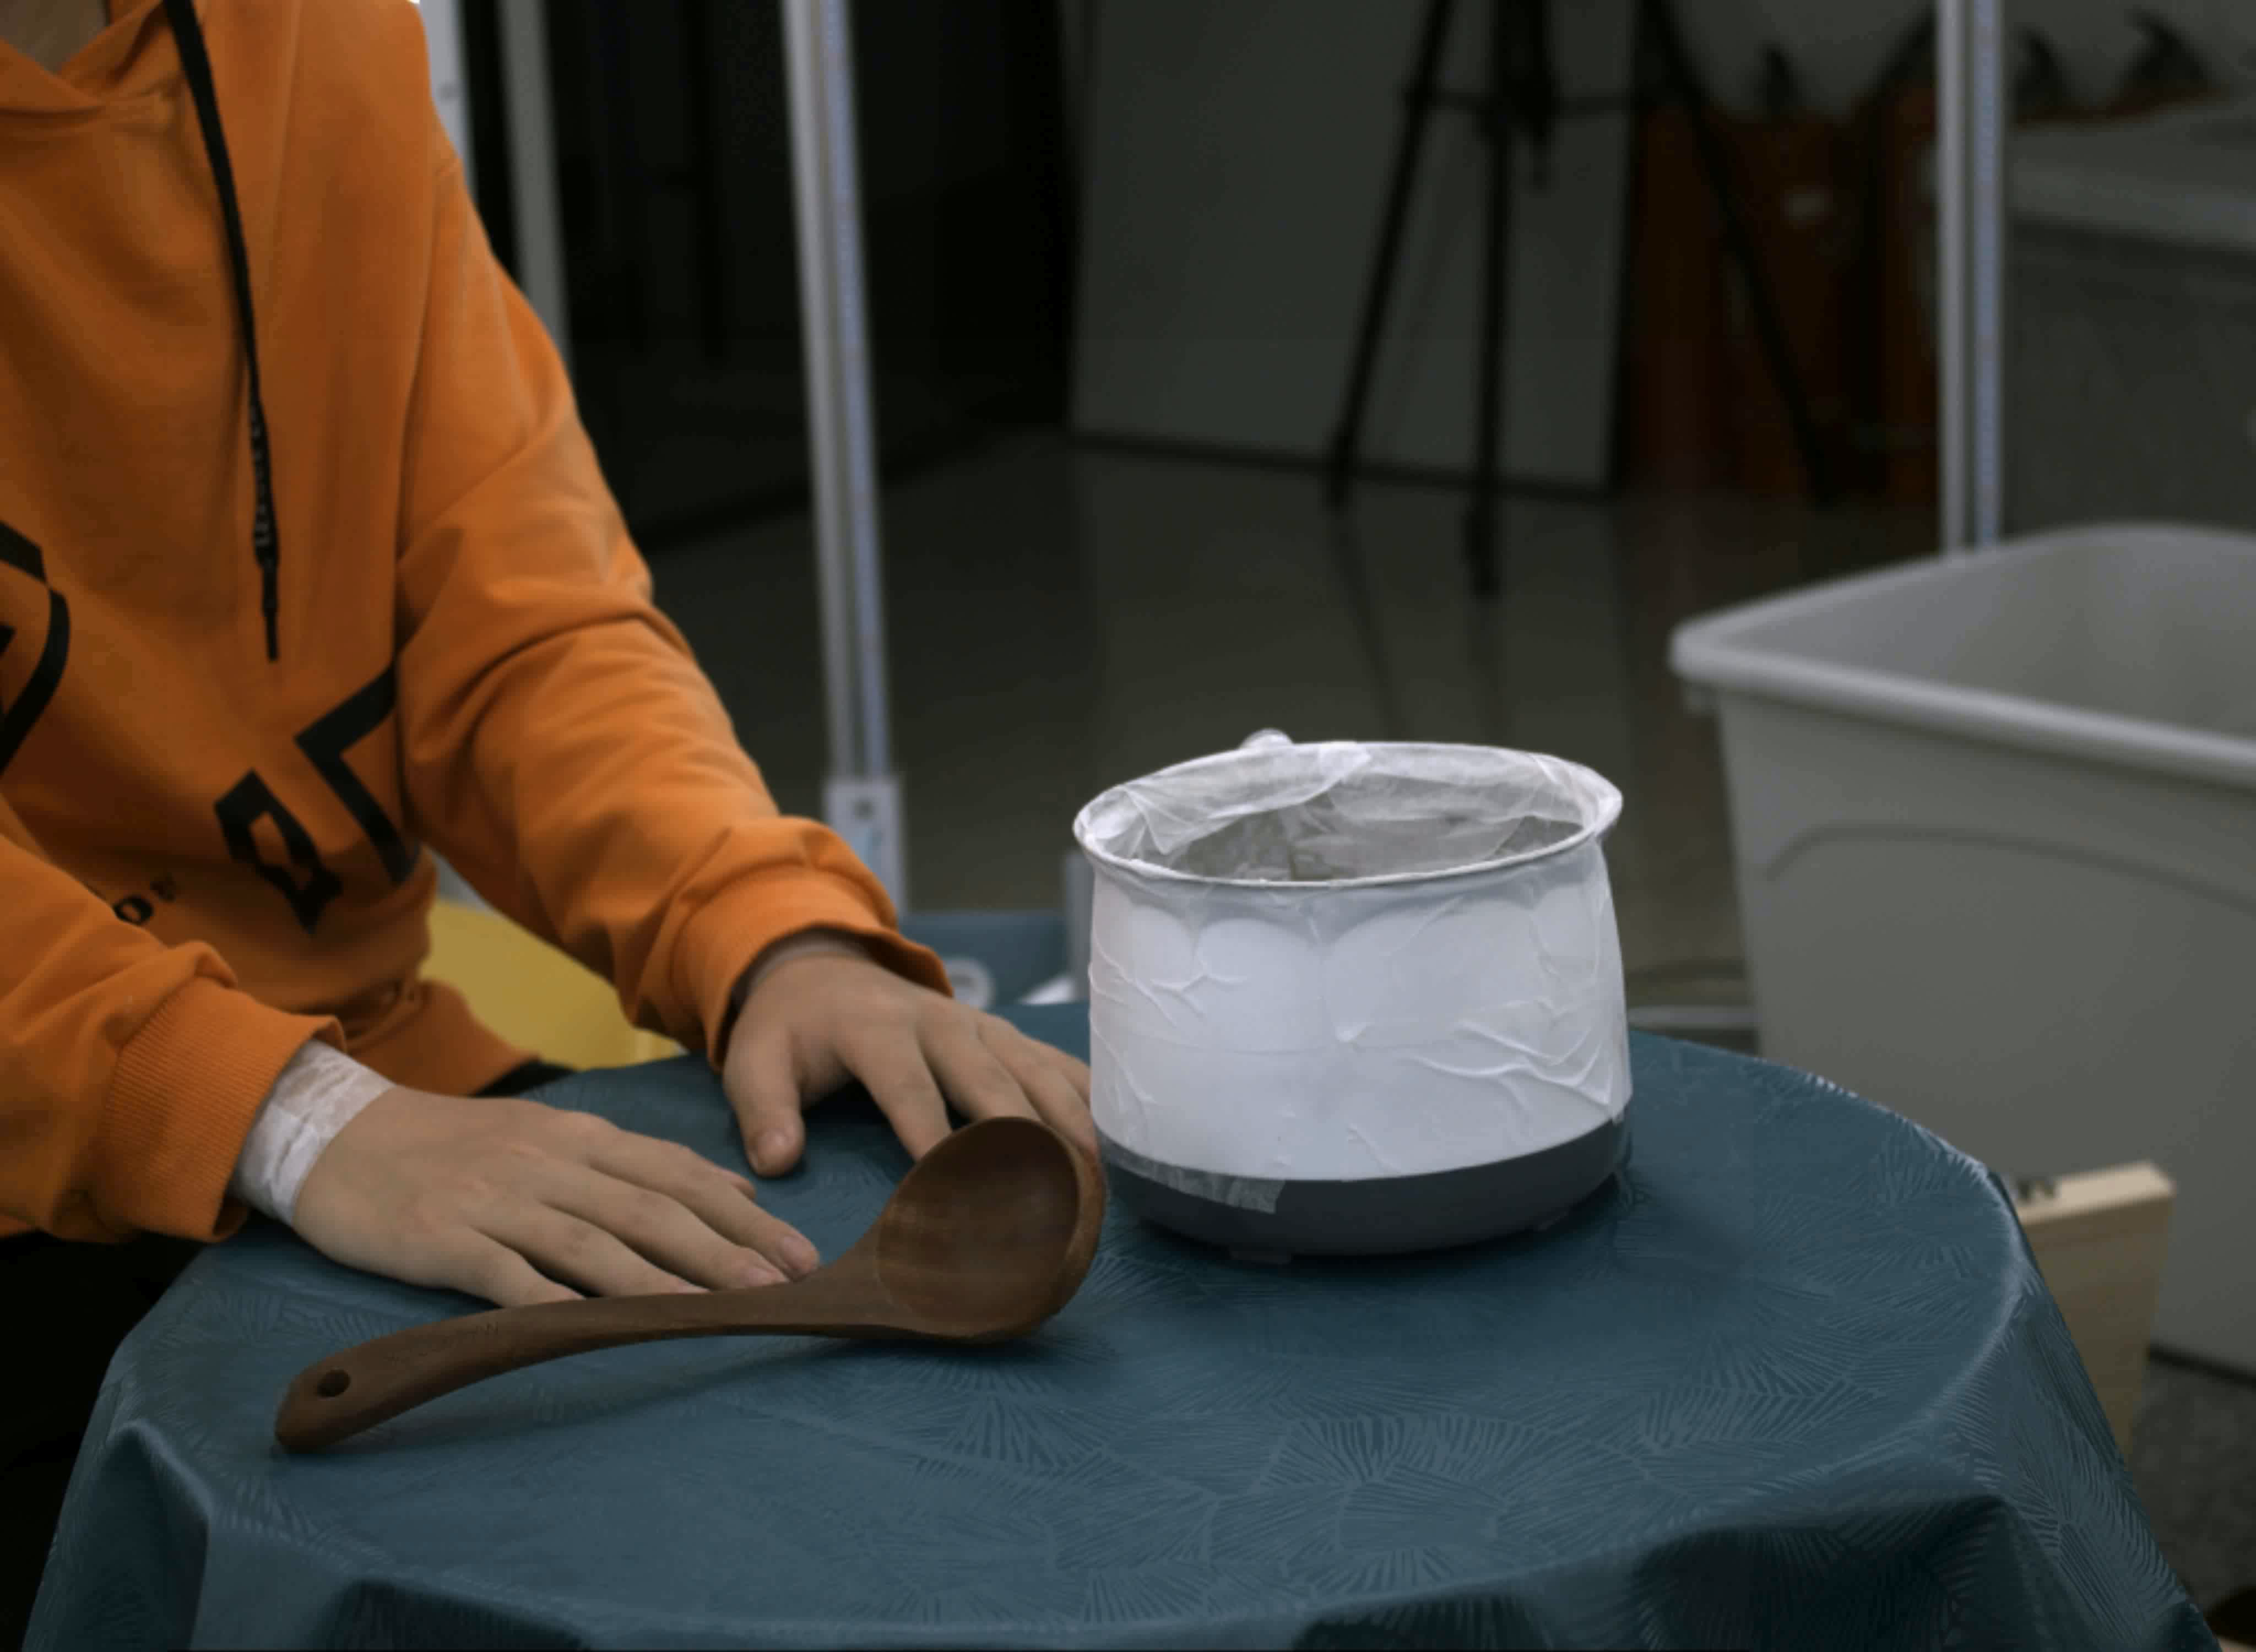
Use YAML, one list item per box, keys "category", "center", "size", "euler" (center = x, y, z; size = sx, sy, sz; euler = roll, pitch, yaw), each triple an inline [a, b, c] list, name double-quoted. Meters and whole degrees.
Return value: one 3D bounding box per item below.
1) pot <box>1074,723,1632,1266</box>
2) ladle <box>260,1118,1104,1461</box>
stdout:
- category: "pot"
  center: [0.066, 0.049, 1.756]
  size: [0.175, 0.138, 0.235]
  euler: [-7, 14, -13]
- category: "ladle"
  center: [-0.131, 0.139, 1.610]
  size: [0.255, 0.065, 0.077]
  euler: [-8, 38, -19]
